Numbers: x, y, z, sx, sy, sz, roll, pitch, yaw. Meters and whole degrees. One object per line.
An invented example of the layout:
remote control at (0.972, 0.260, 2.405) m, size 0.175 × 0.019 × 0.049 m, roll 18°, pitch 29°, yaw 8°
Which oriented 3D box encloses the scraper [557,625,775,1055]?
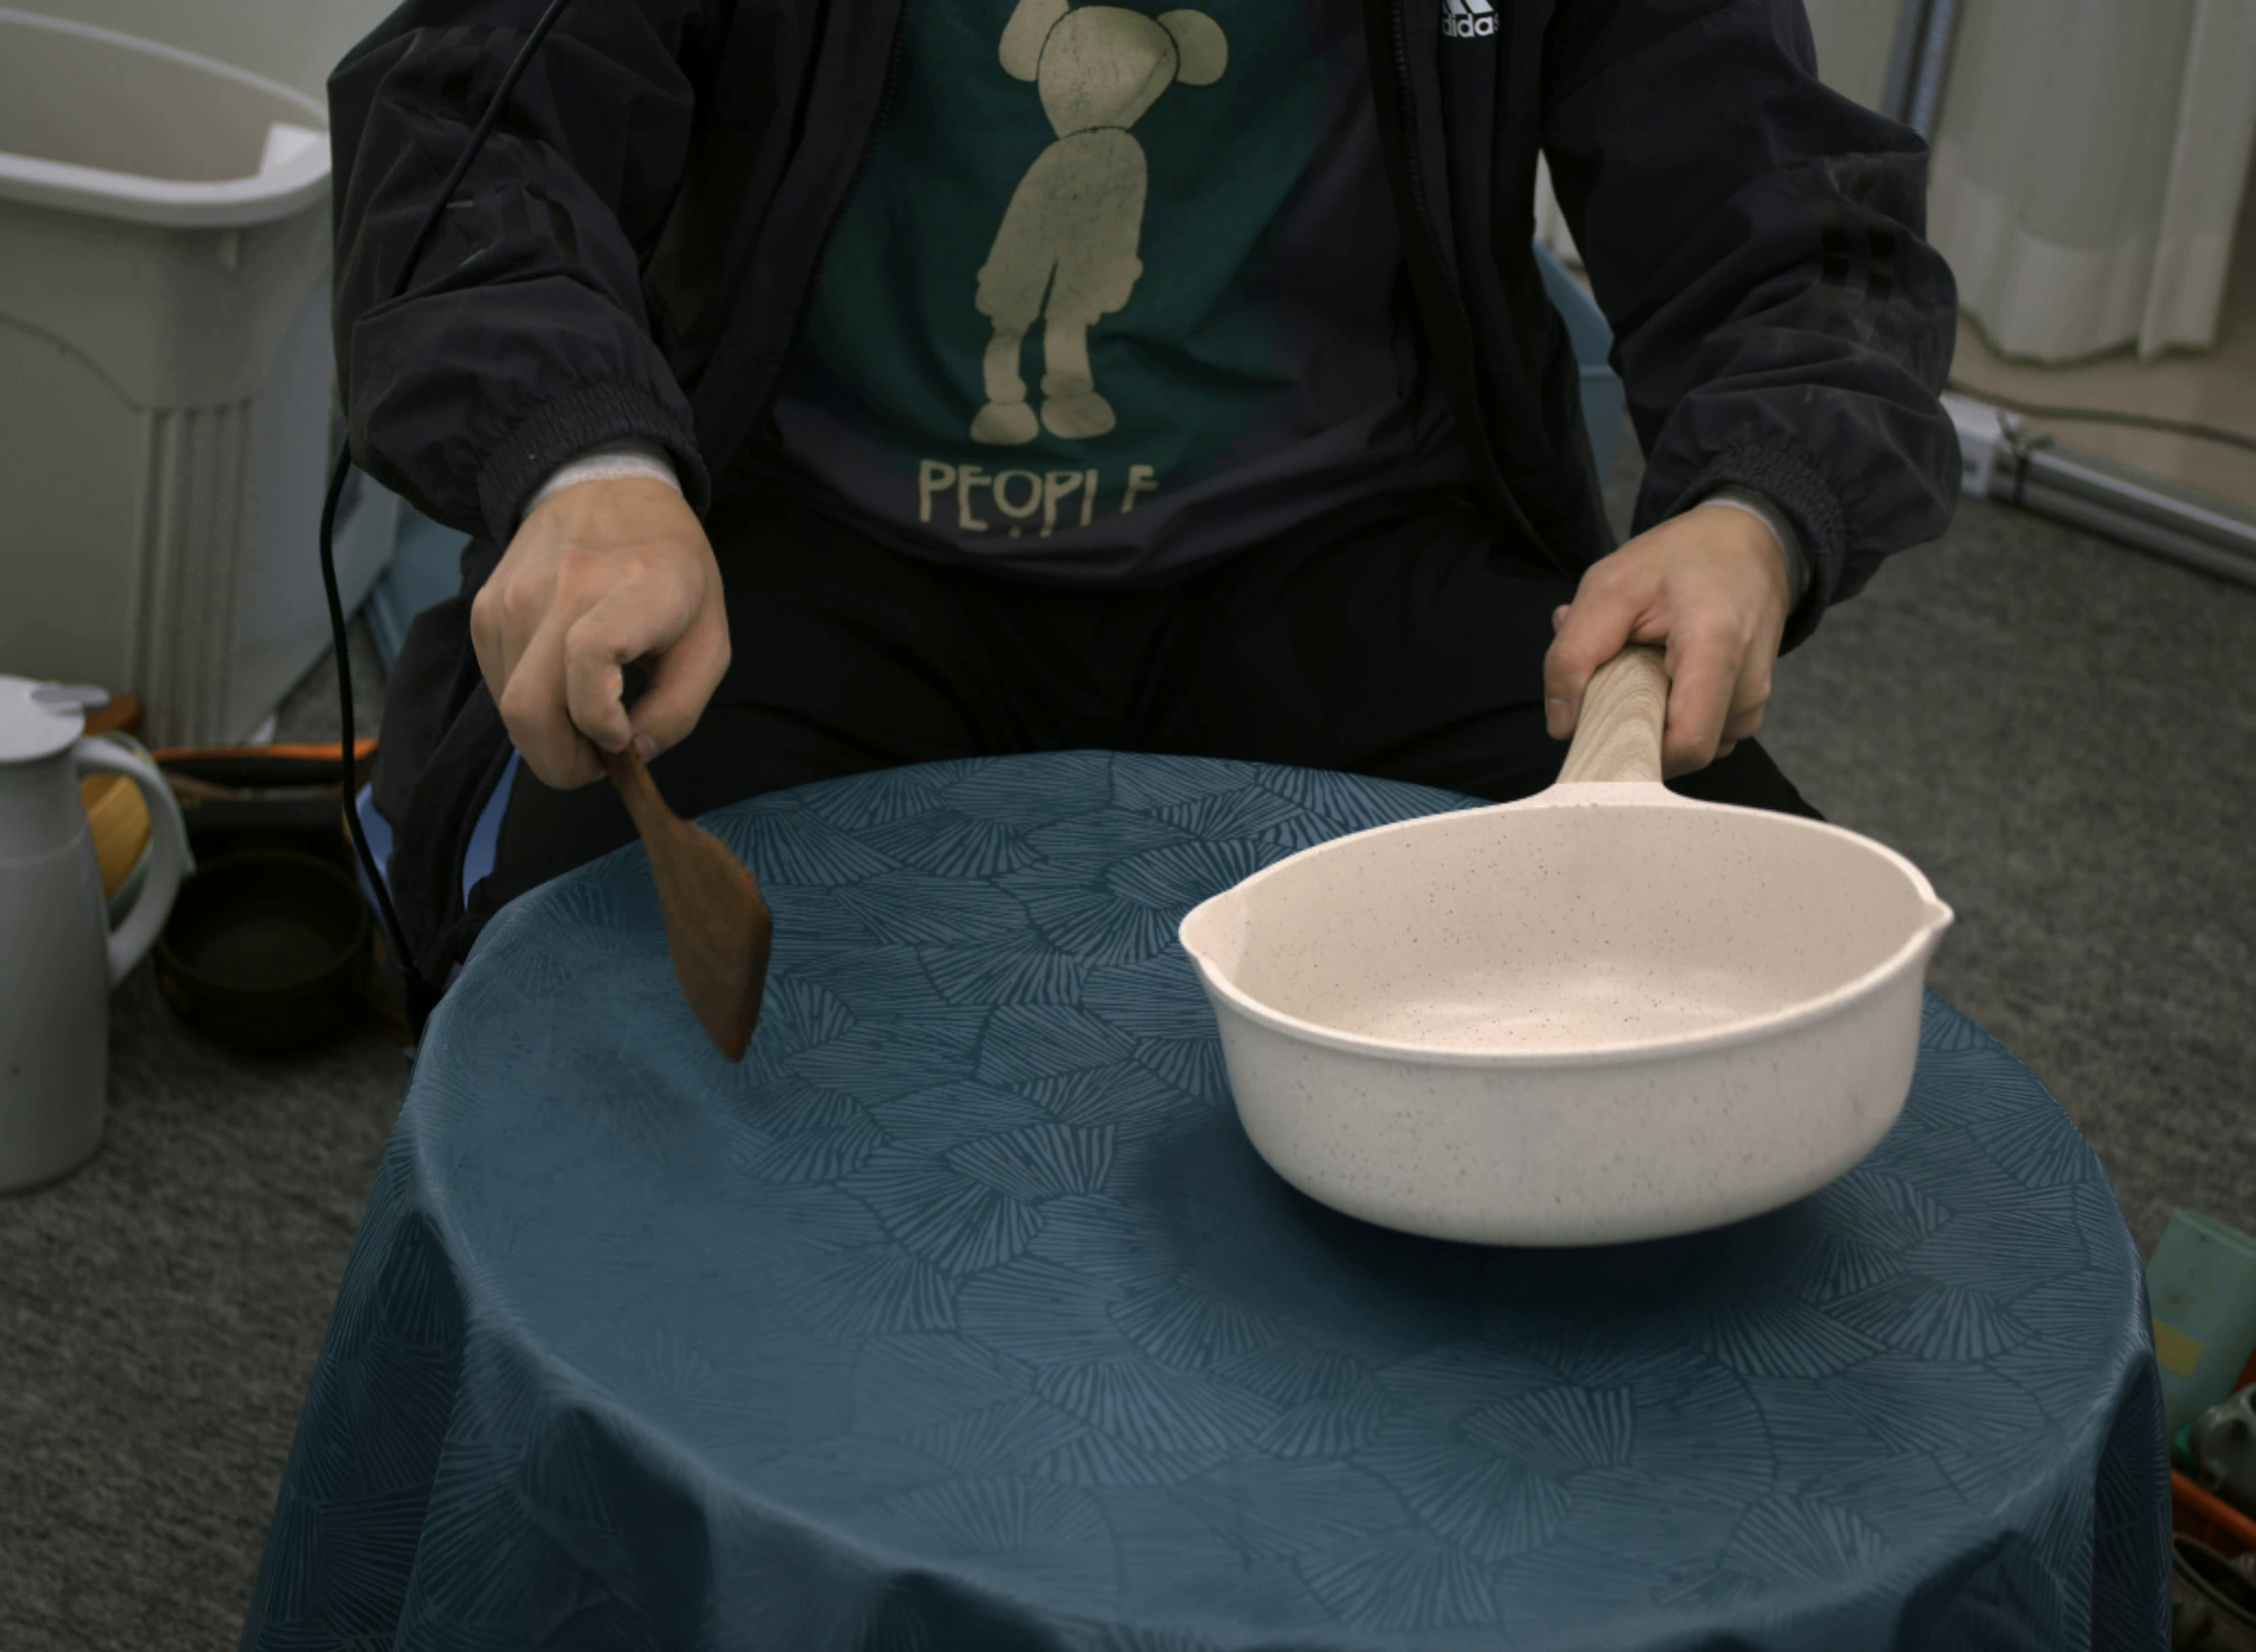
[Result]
scraper at (-0.165, -0.006, 1.859) m, size 0.011 × 0.075 × 0.213 m, roll -5°, pitch 36°, yaw -24°

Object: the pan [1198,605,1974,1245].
pan at (0.172, 0.032, 1.895) m, size 0.263 × 0.102 × 0.436 m, roll -2°, pitch 19°, yaw 11°
